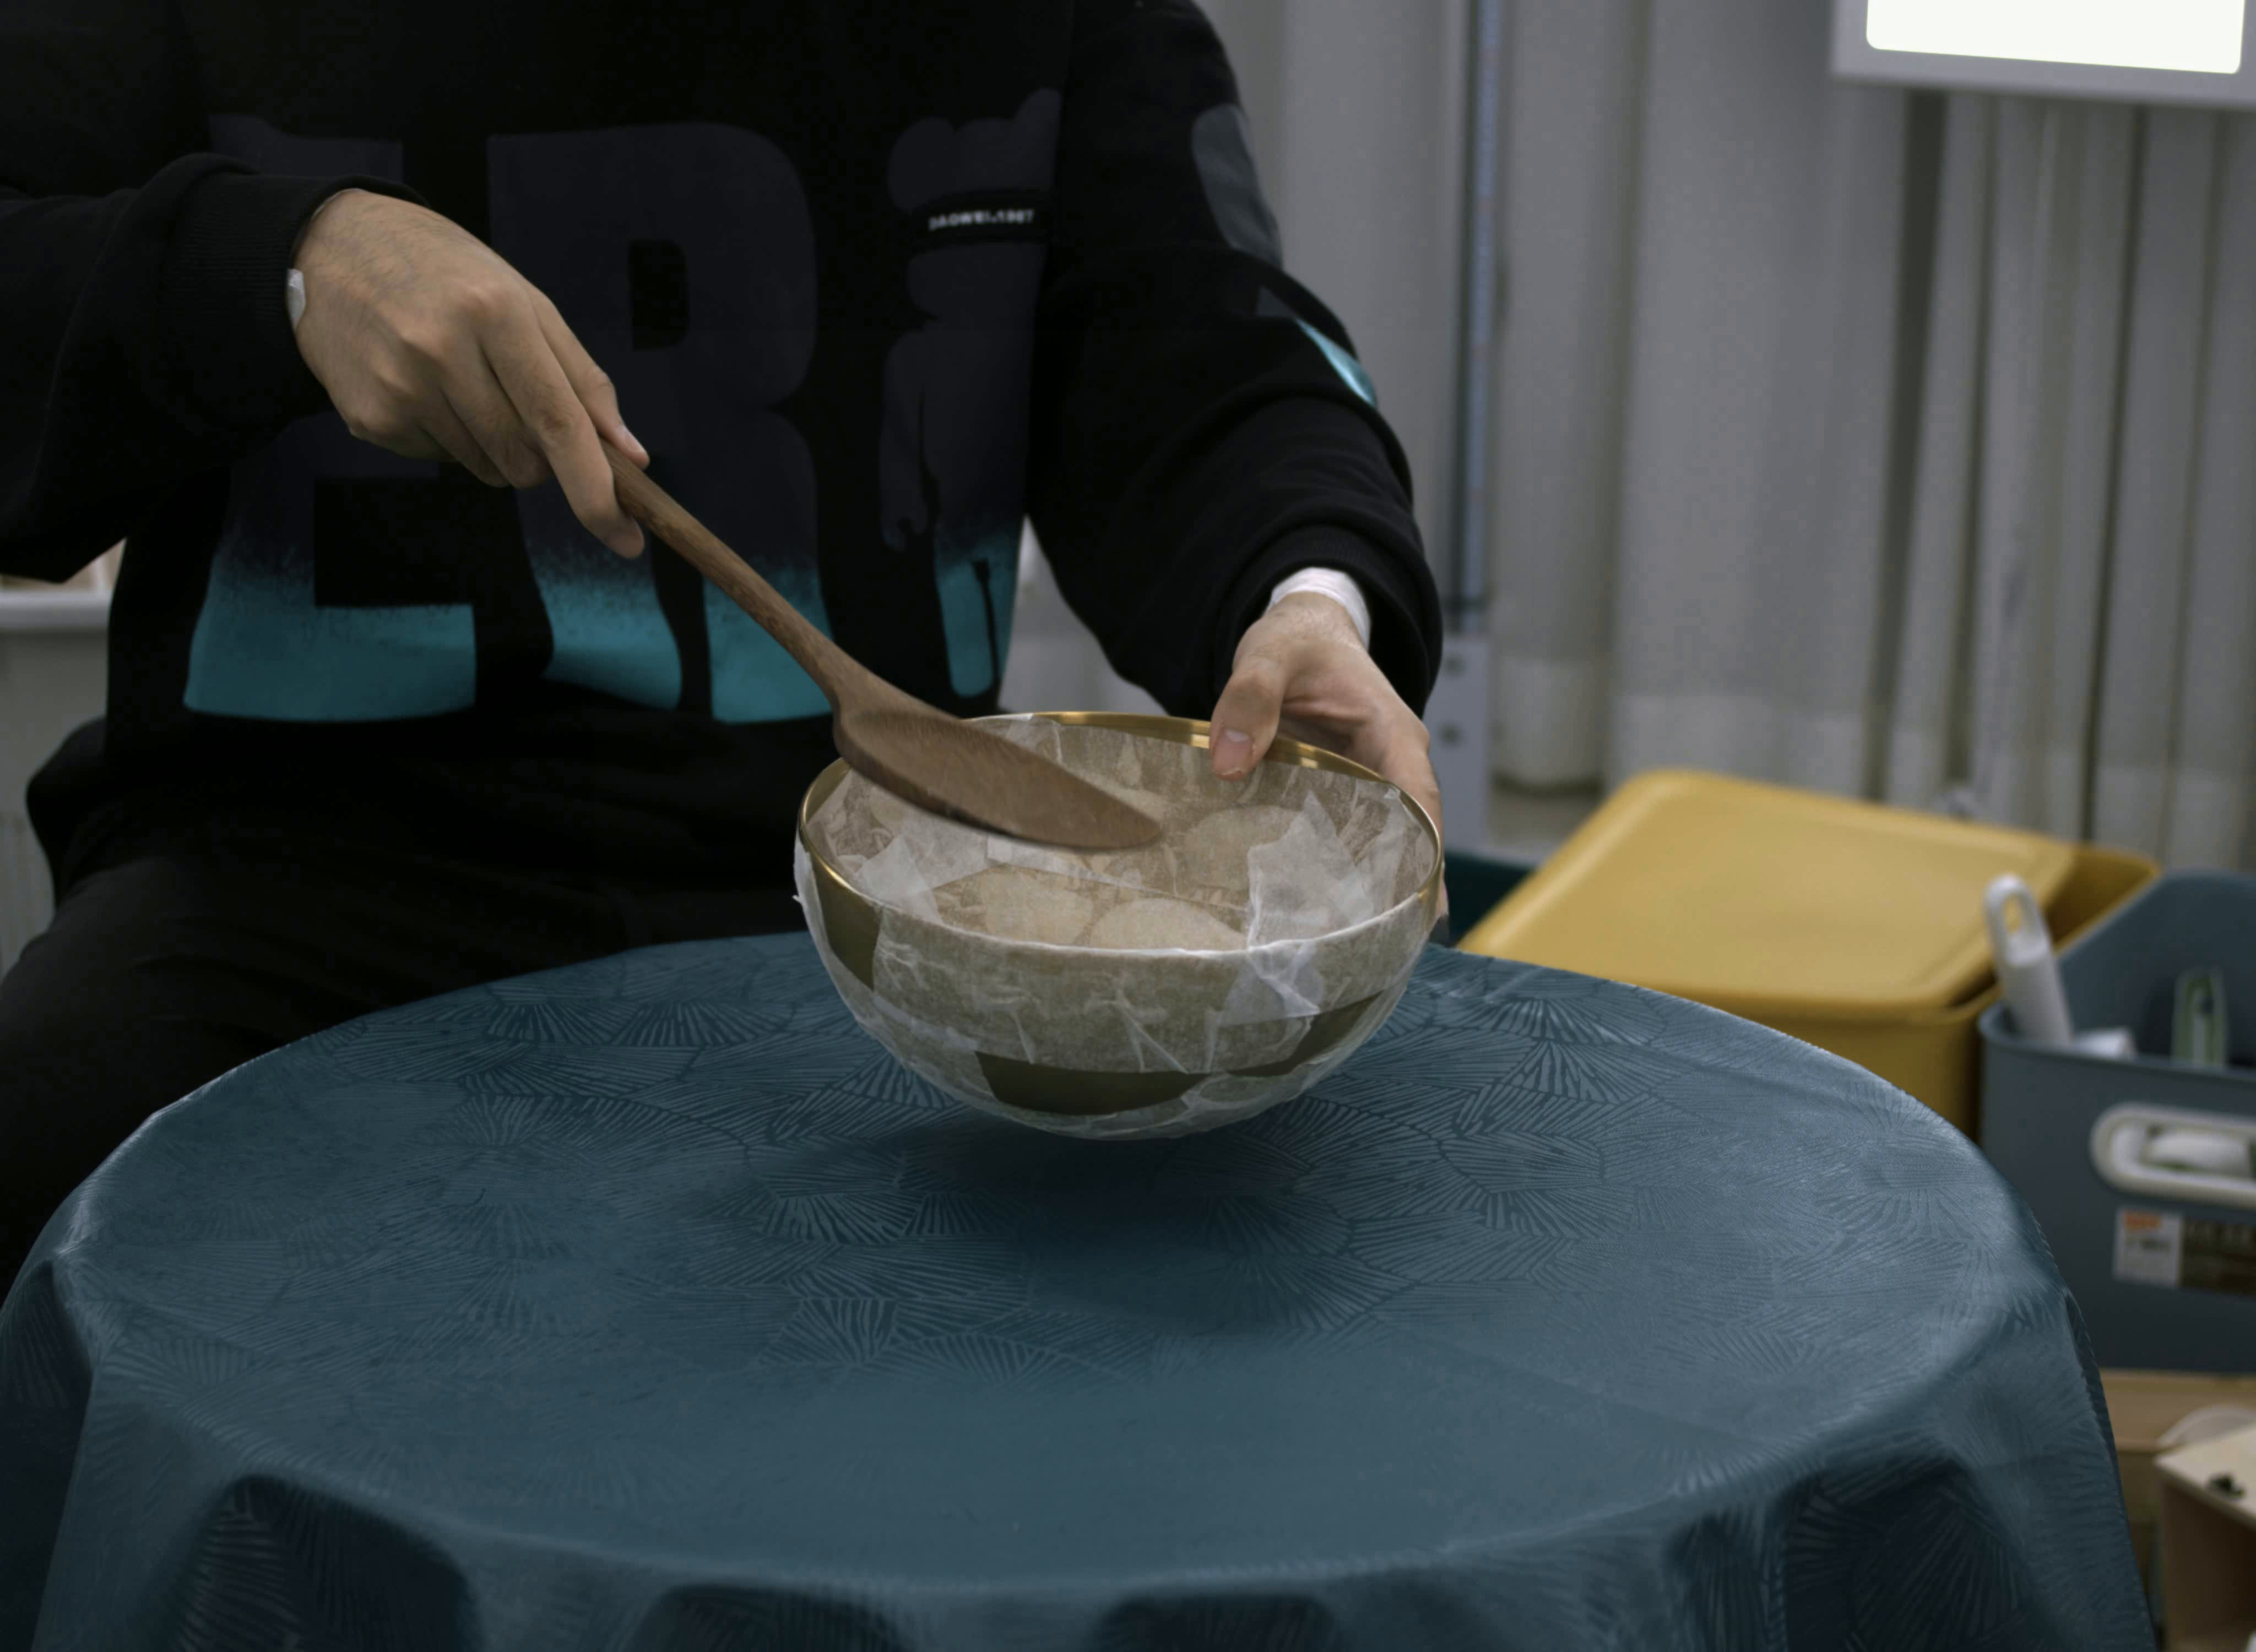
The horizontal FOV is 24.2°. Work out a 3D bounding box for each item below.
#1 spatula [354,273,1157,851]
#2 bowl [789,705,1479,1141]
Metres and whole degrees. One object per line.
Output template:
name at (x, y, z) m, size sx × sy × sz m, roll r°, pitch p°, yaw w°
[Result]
spatula at (-0.135, -0.089, 1.659) m, size 0.097 × 0.016 × 0.381 m, roll 4°, pitch 28°, yaw -49°
bowl at (-0.002, 0.040, 1.632) m, size 0.214 × 0.095 × 0.213 m, roll 2°, pitch 21°, yaw 0°
